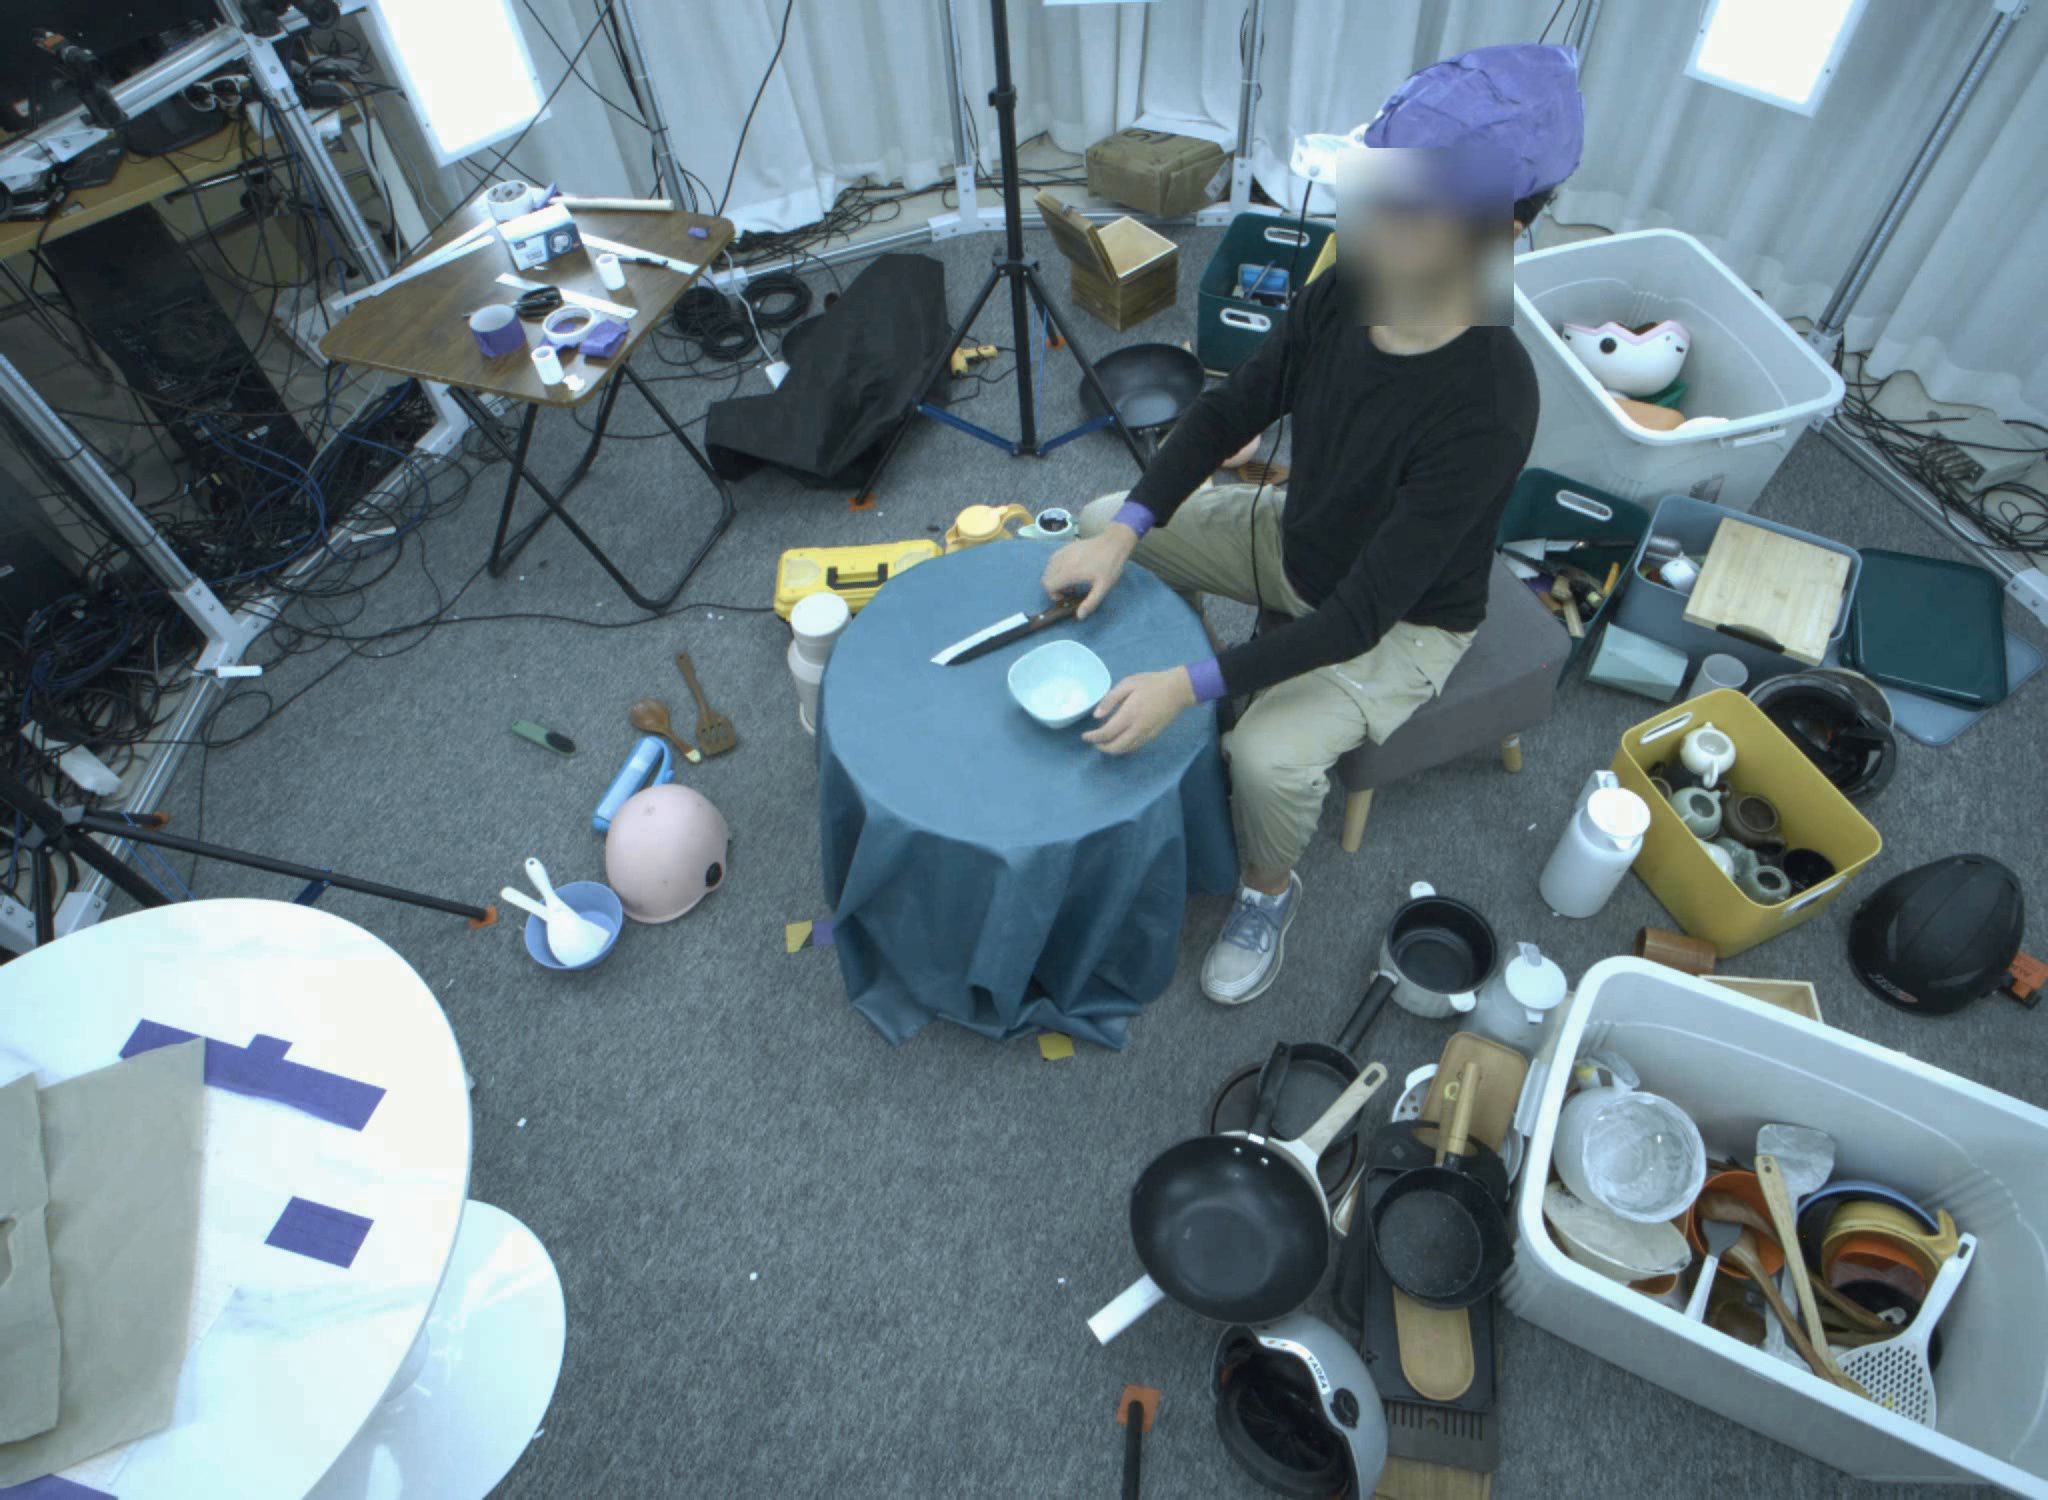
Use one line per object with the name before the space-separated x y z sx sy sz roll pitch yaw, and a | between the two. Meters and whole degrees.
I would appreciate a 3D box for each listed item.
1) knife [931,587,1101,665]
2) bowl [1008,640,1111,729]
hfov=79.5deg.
knife | -0.012 -0.191 1.911 0.291 0.020 0.049 -24 53 -11
bowl | 0.054 -0.087 1.809 0.151 0.059 0.150 -1 55 3
